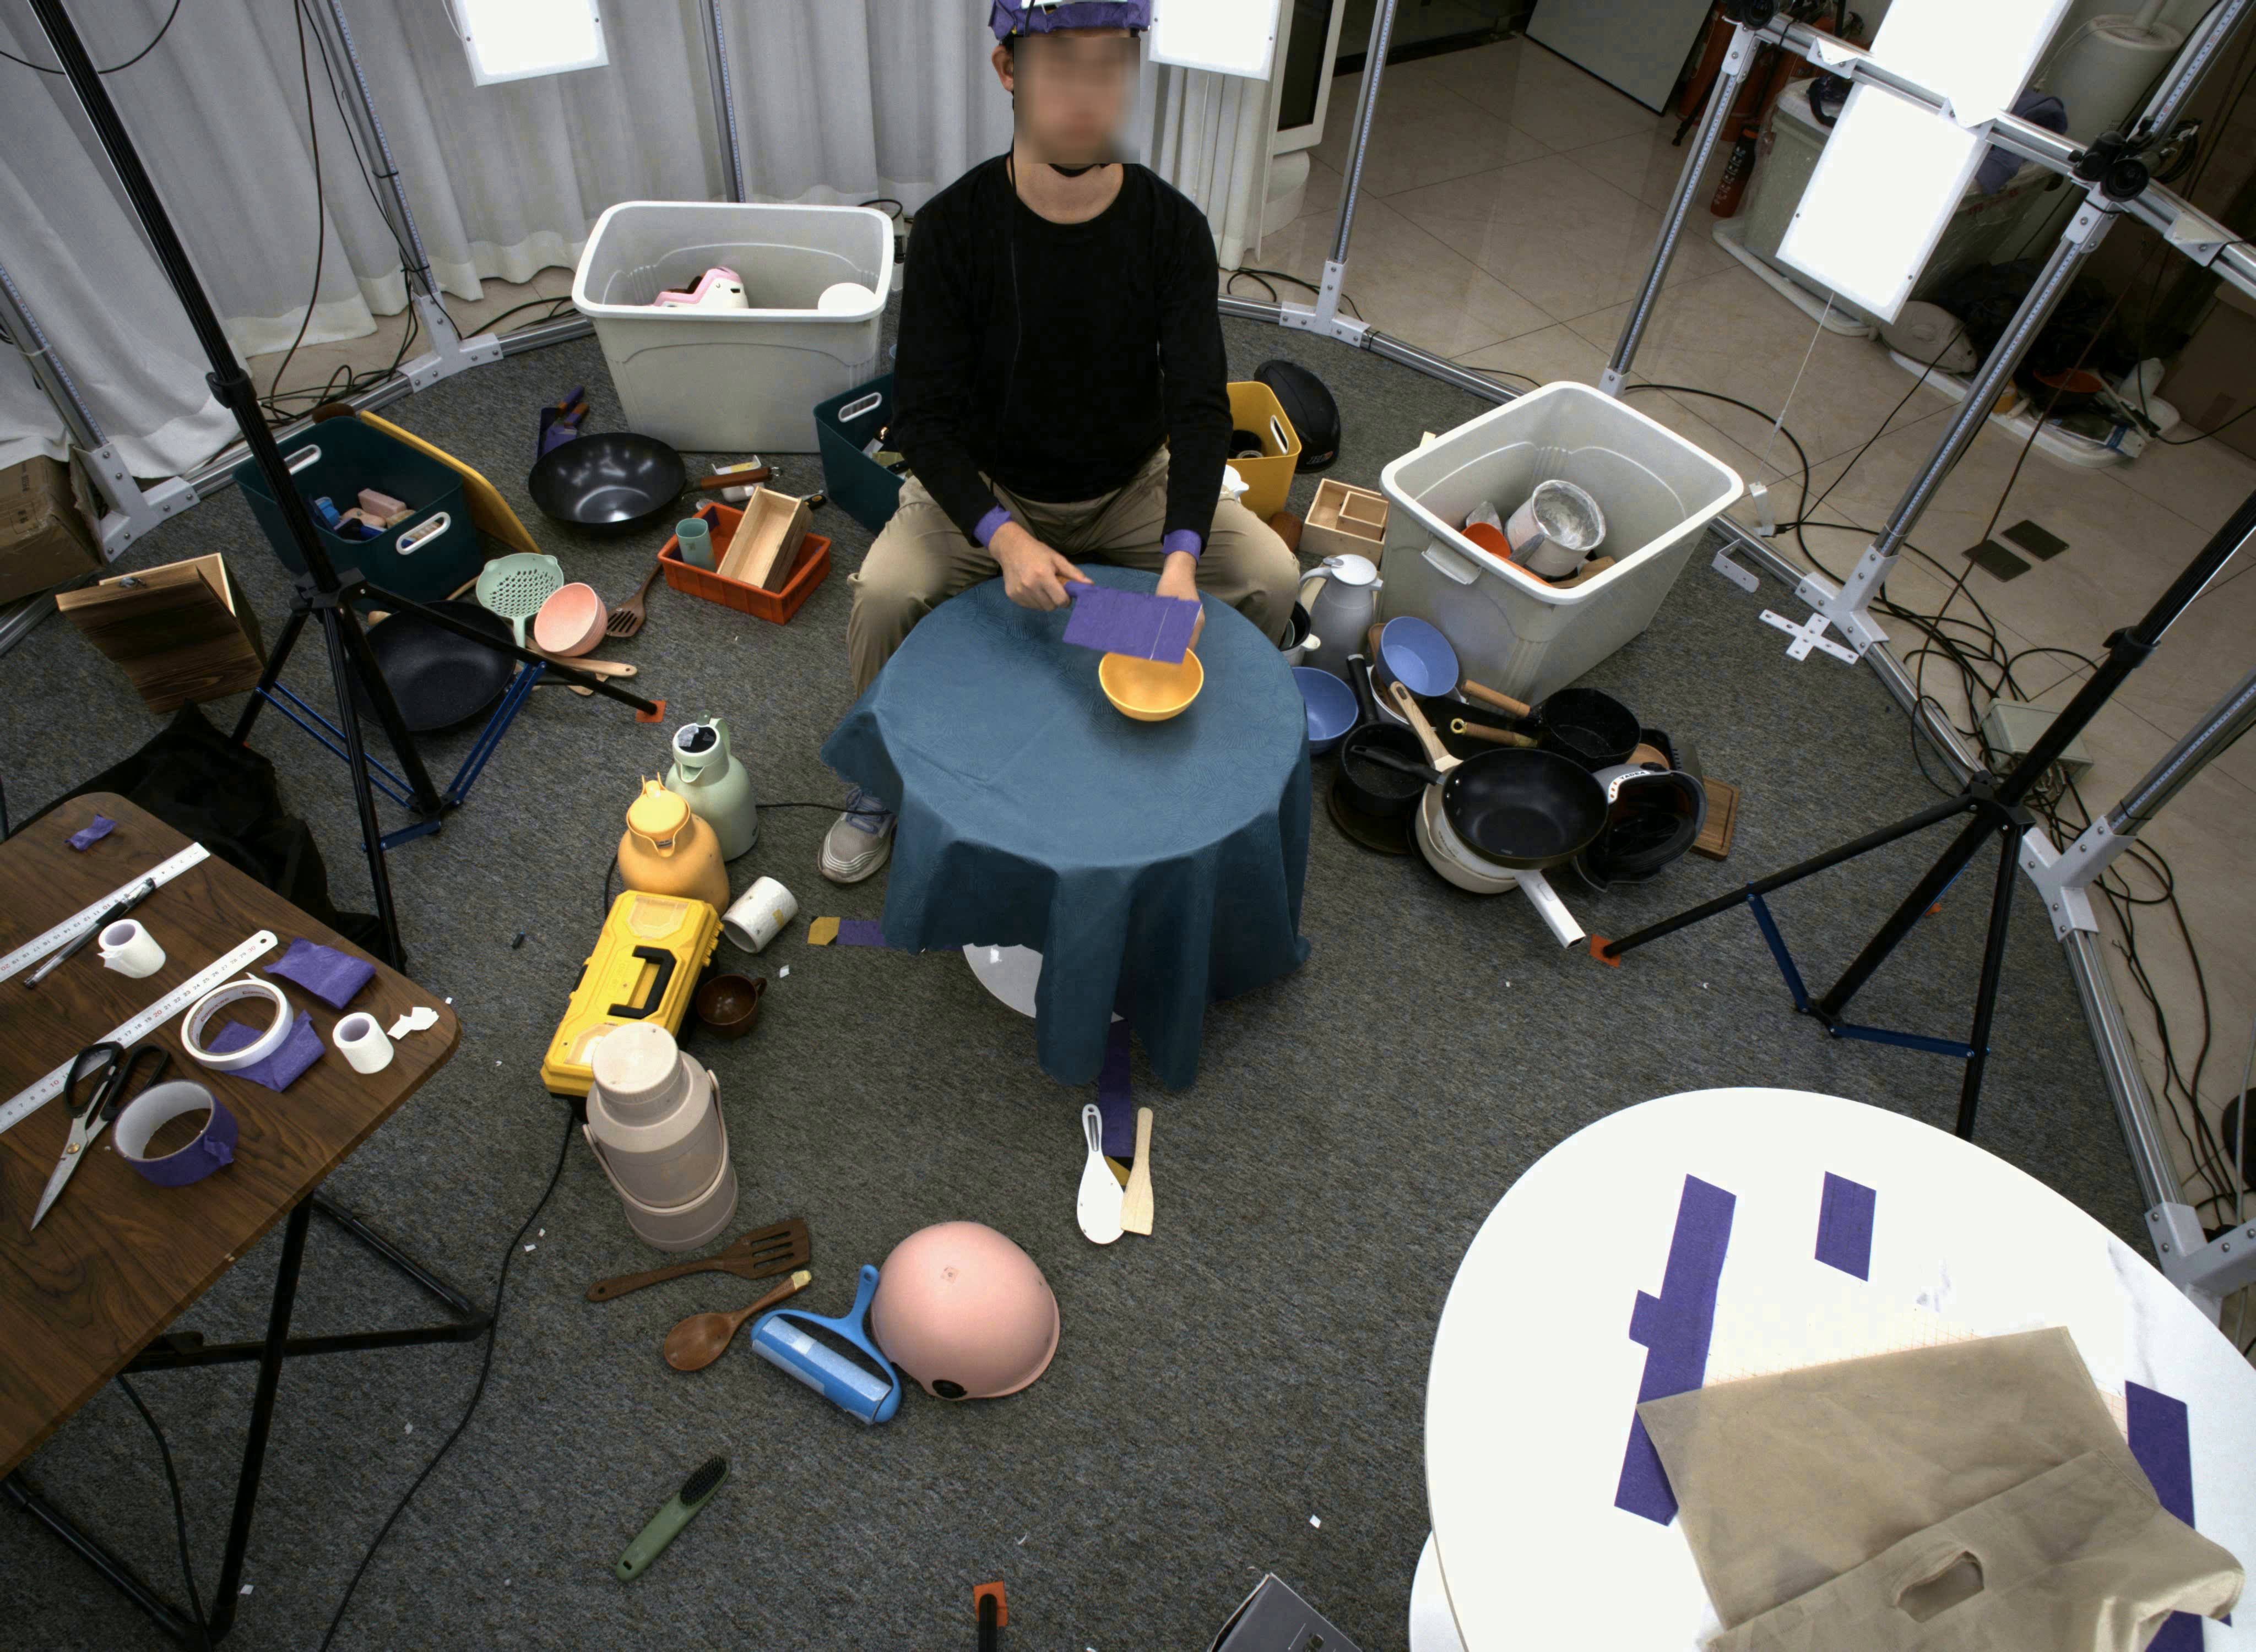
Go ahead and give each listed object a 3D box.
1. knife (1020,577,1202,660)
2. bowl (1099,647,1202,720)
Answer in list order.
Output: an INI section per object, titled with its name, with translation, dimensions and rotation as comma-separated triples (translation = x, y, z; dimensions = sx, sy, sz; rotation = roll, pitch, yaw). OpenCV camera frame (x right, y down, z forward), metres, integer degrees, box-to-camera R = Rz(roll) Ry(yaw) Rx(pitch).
[knife]
translation = -0.040, -0.292, 1.799
dimensions = 0.318, 0.031, 0.104
rotation = 16, 80, 37
[bowl]
translation = 0.030, -0.196, 1.800
dimensions = 0.145, 0.059, 0.149
rotation = 2, 52, -3
